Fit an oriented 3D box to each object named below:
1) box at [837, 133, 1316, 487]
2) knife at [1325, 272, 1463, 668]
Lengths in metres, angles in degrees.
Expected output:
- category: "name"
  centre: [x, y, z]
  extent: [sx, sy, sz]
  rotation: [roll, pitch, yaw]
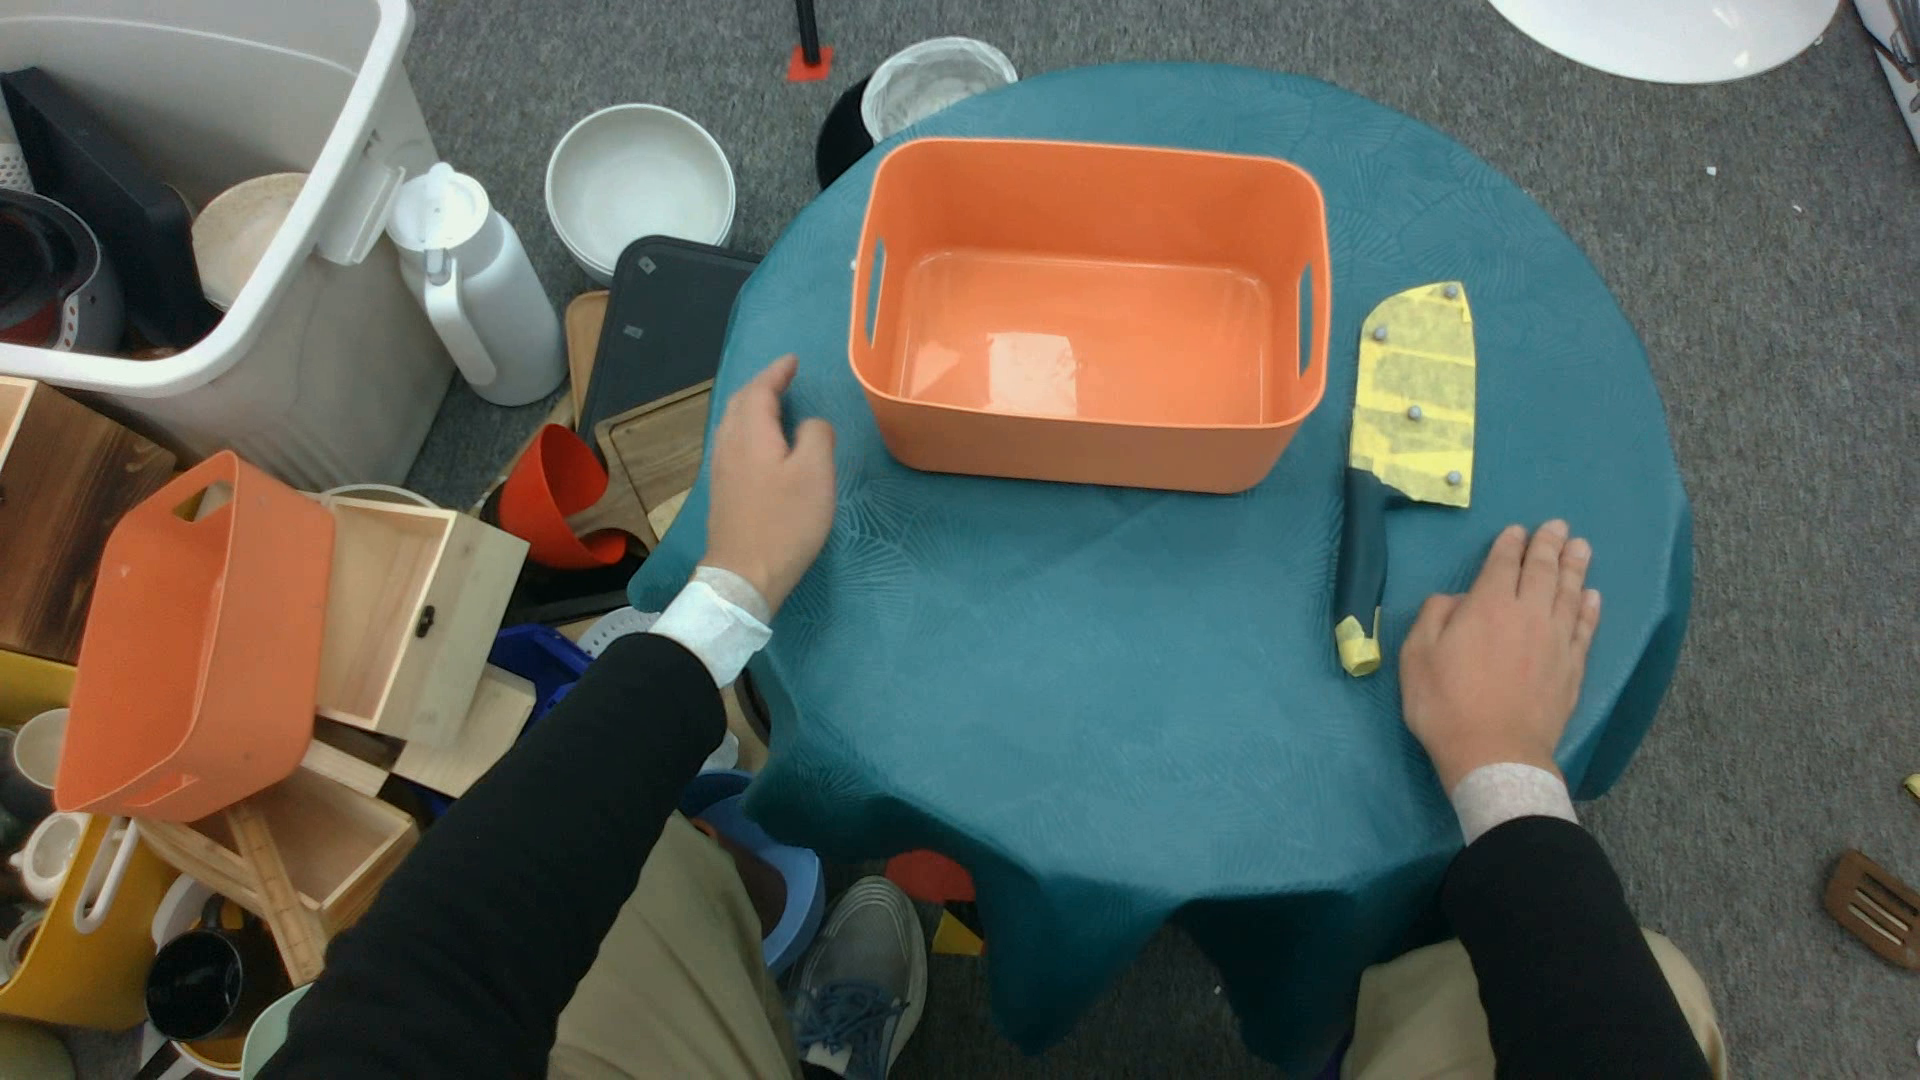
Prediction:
- category: "box"
  centre: [0.070, -0.134, 0.837]
  extent: [0.273, 0.102, 0.200]
  rotation: [4, 63, 3]
- category: "knife"
  centre: [0.266, -0.052, 0.844]
  extent: [0.081, 0.027, 0.290]
  rotation: [12, 64, 9]
